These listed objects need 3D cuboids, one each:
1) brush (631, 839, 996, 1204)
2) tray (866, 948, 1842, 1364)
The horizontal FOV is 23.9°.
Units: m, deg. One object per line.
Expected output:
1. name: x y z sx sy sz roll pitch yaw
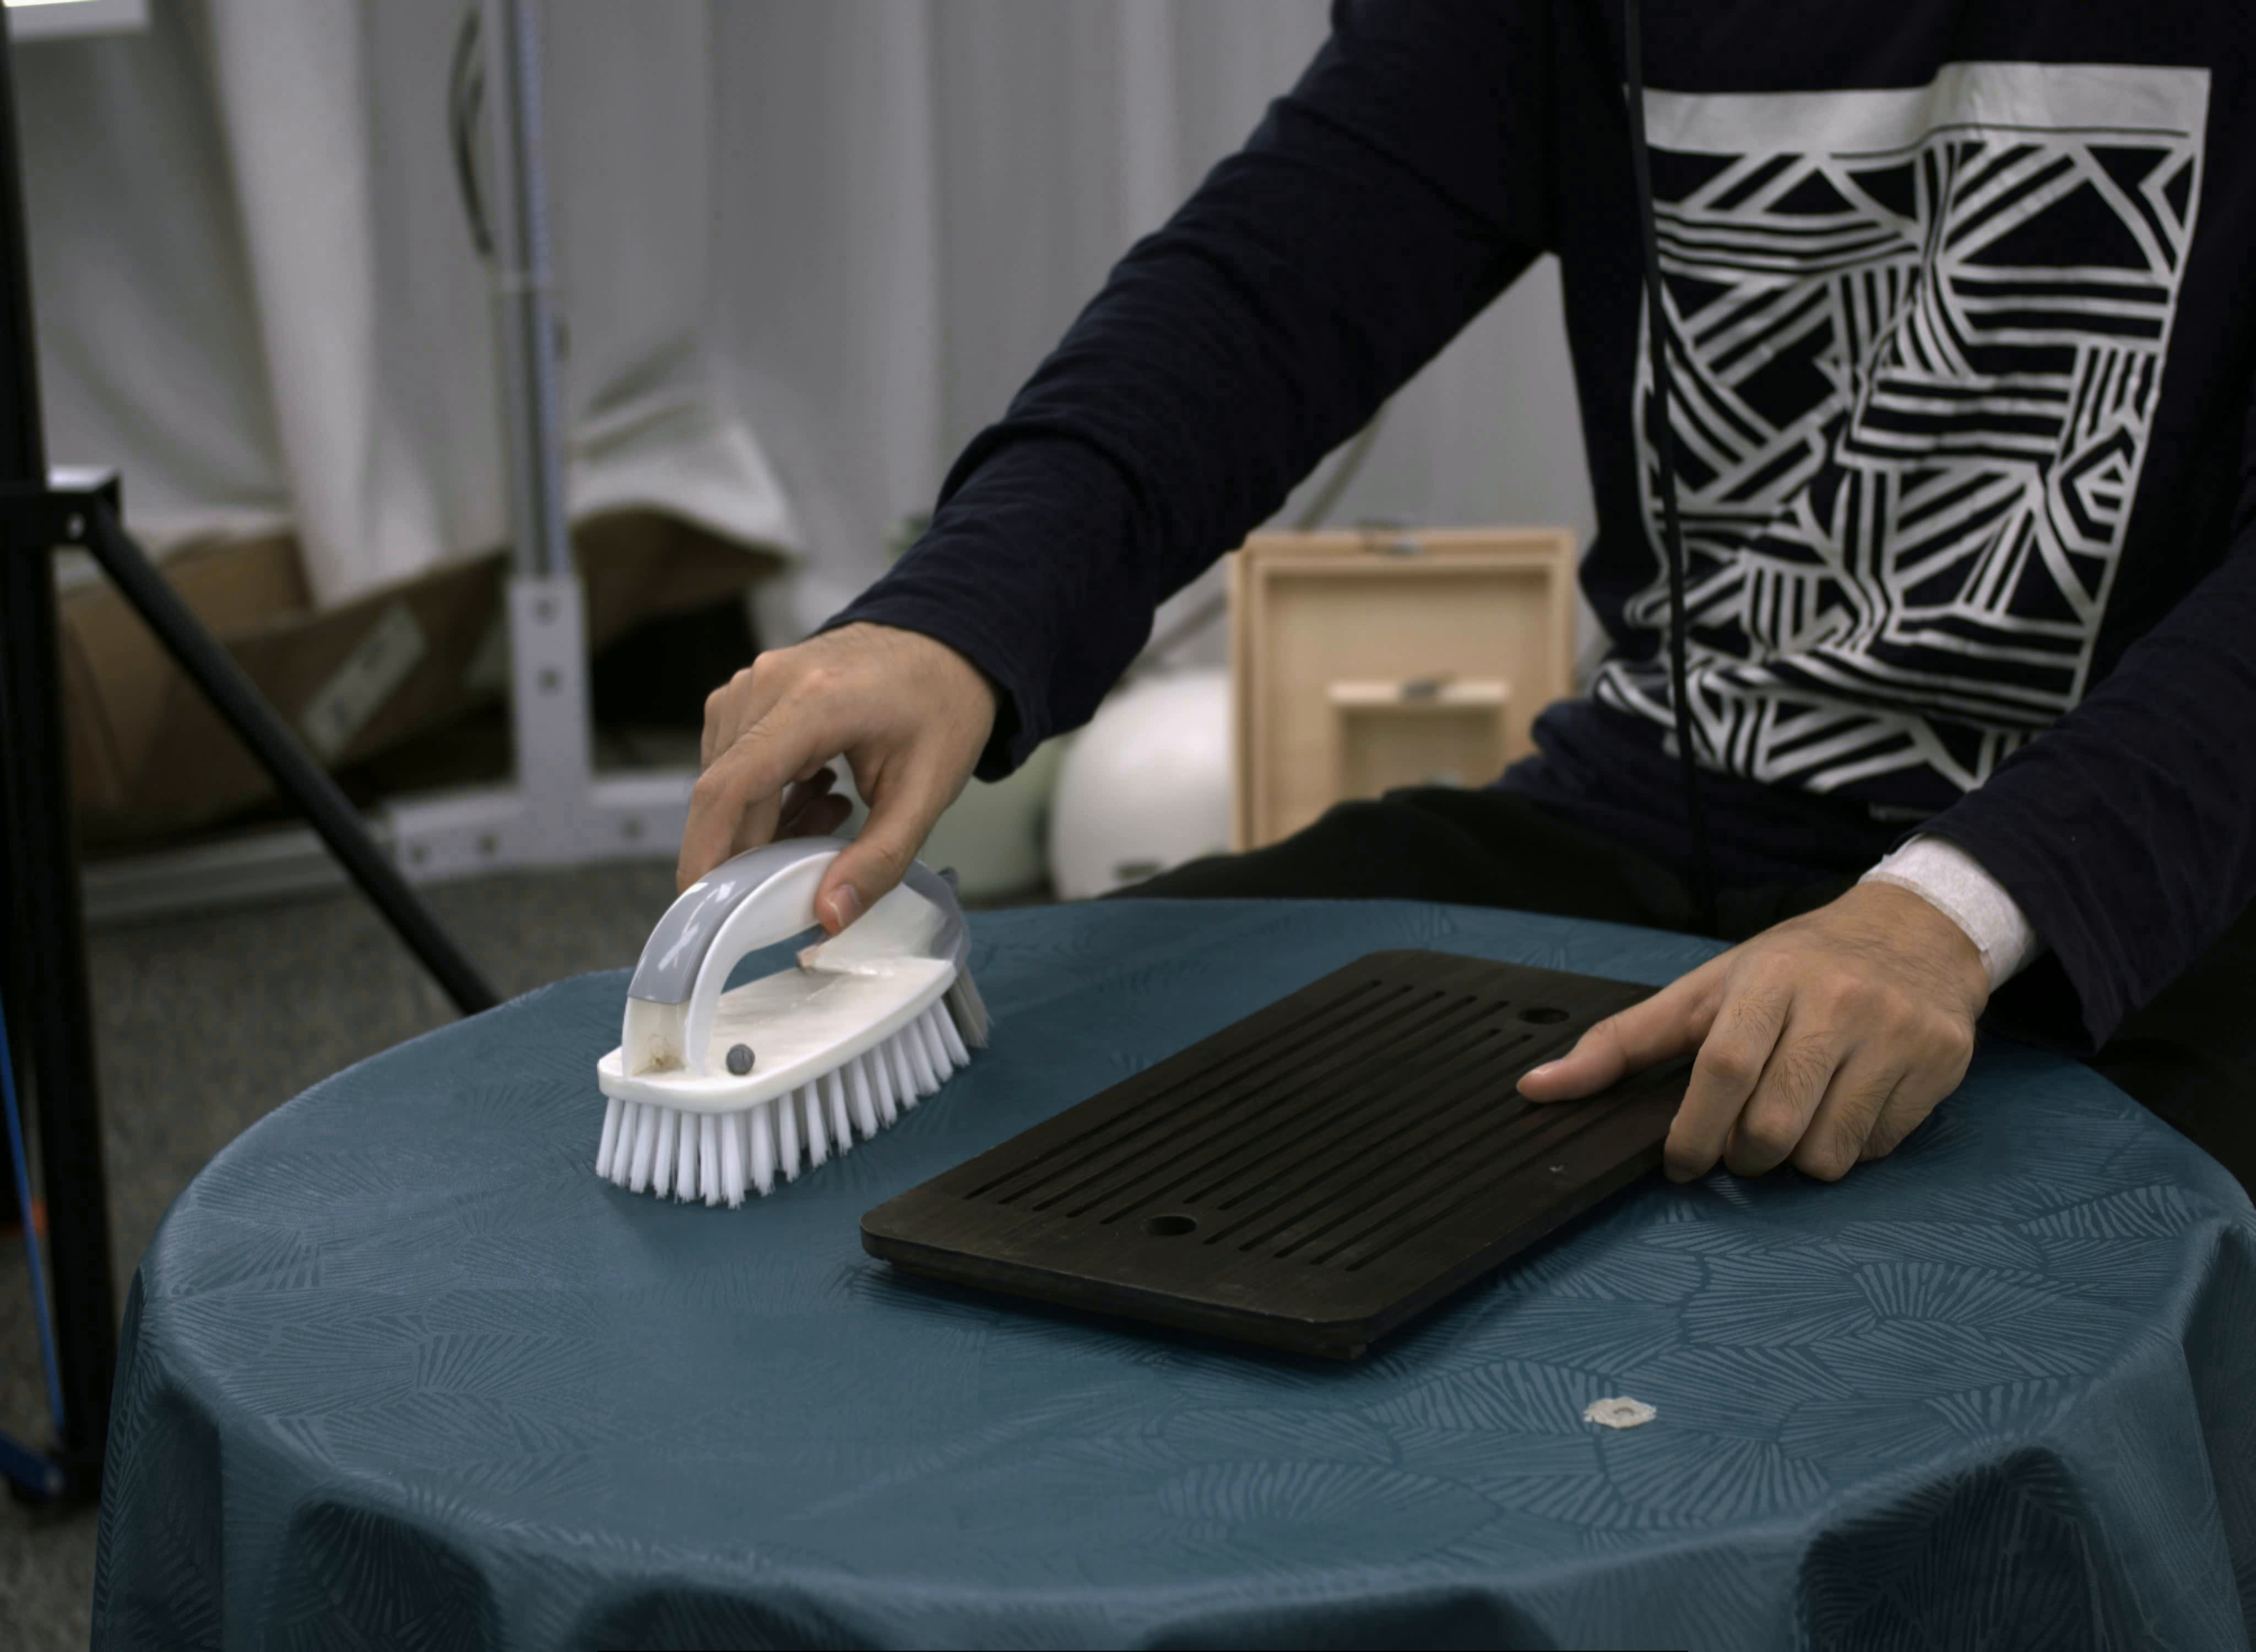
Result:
1. brush: -0.088 0.049 1.626 0.062 0.094 0.172 5 16 29
2. tray: 0.073 0.094 1.566 0.173 0.018 0.300 8 19 33
